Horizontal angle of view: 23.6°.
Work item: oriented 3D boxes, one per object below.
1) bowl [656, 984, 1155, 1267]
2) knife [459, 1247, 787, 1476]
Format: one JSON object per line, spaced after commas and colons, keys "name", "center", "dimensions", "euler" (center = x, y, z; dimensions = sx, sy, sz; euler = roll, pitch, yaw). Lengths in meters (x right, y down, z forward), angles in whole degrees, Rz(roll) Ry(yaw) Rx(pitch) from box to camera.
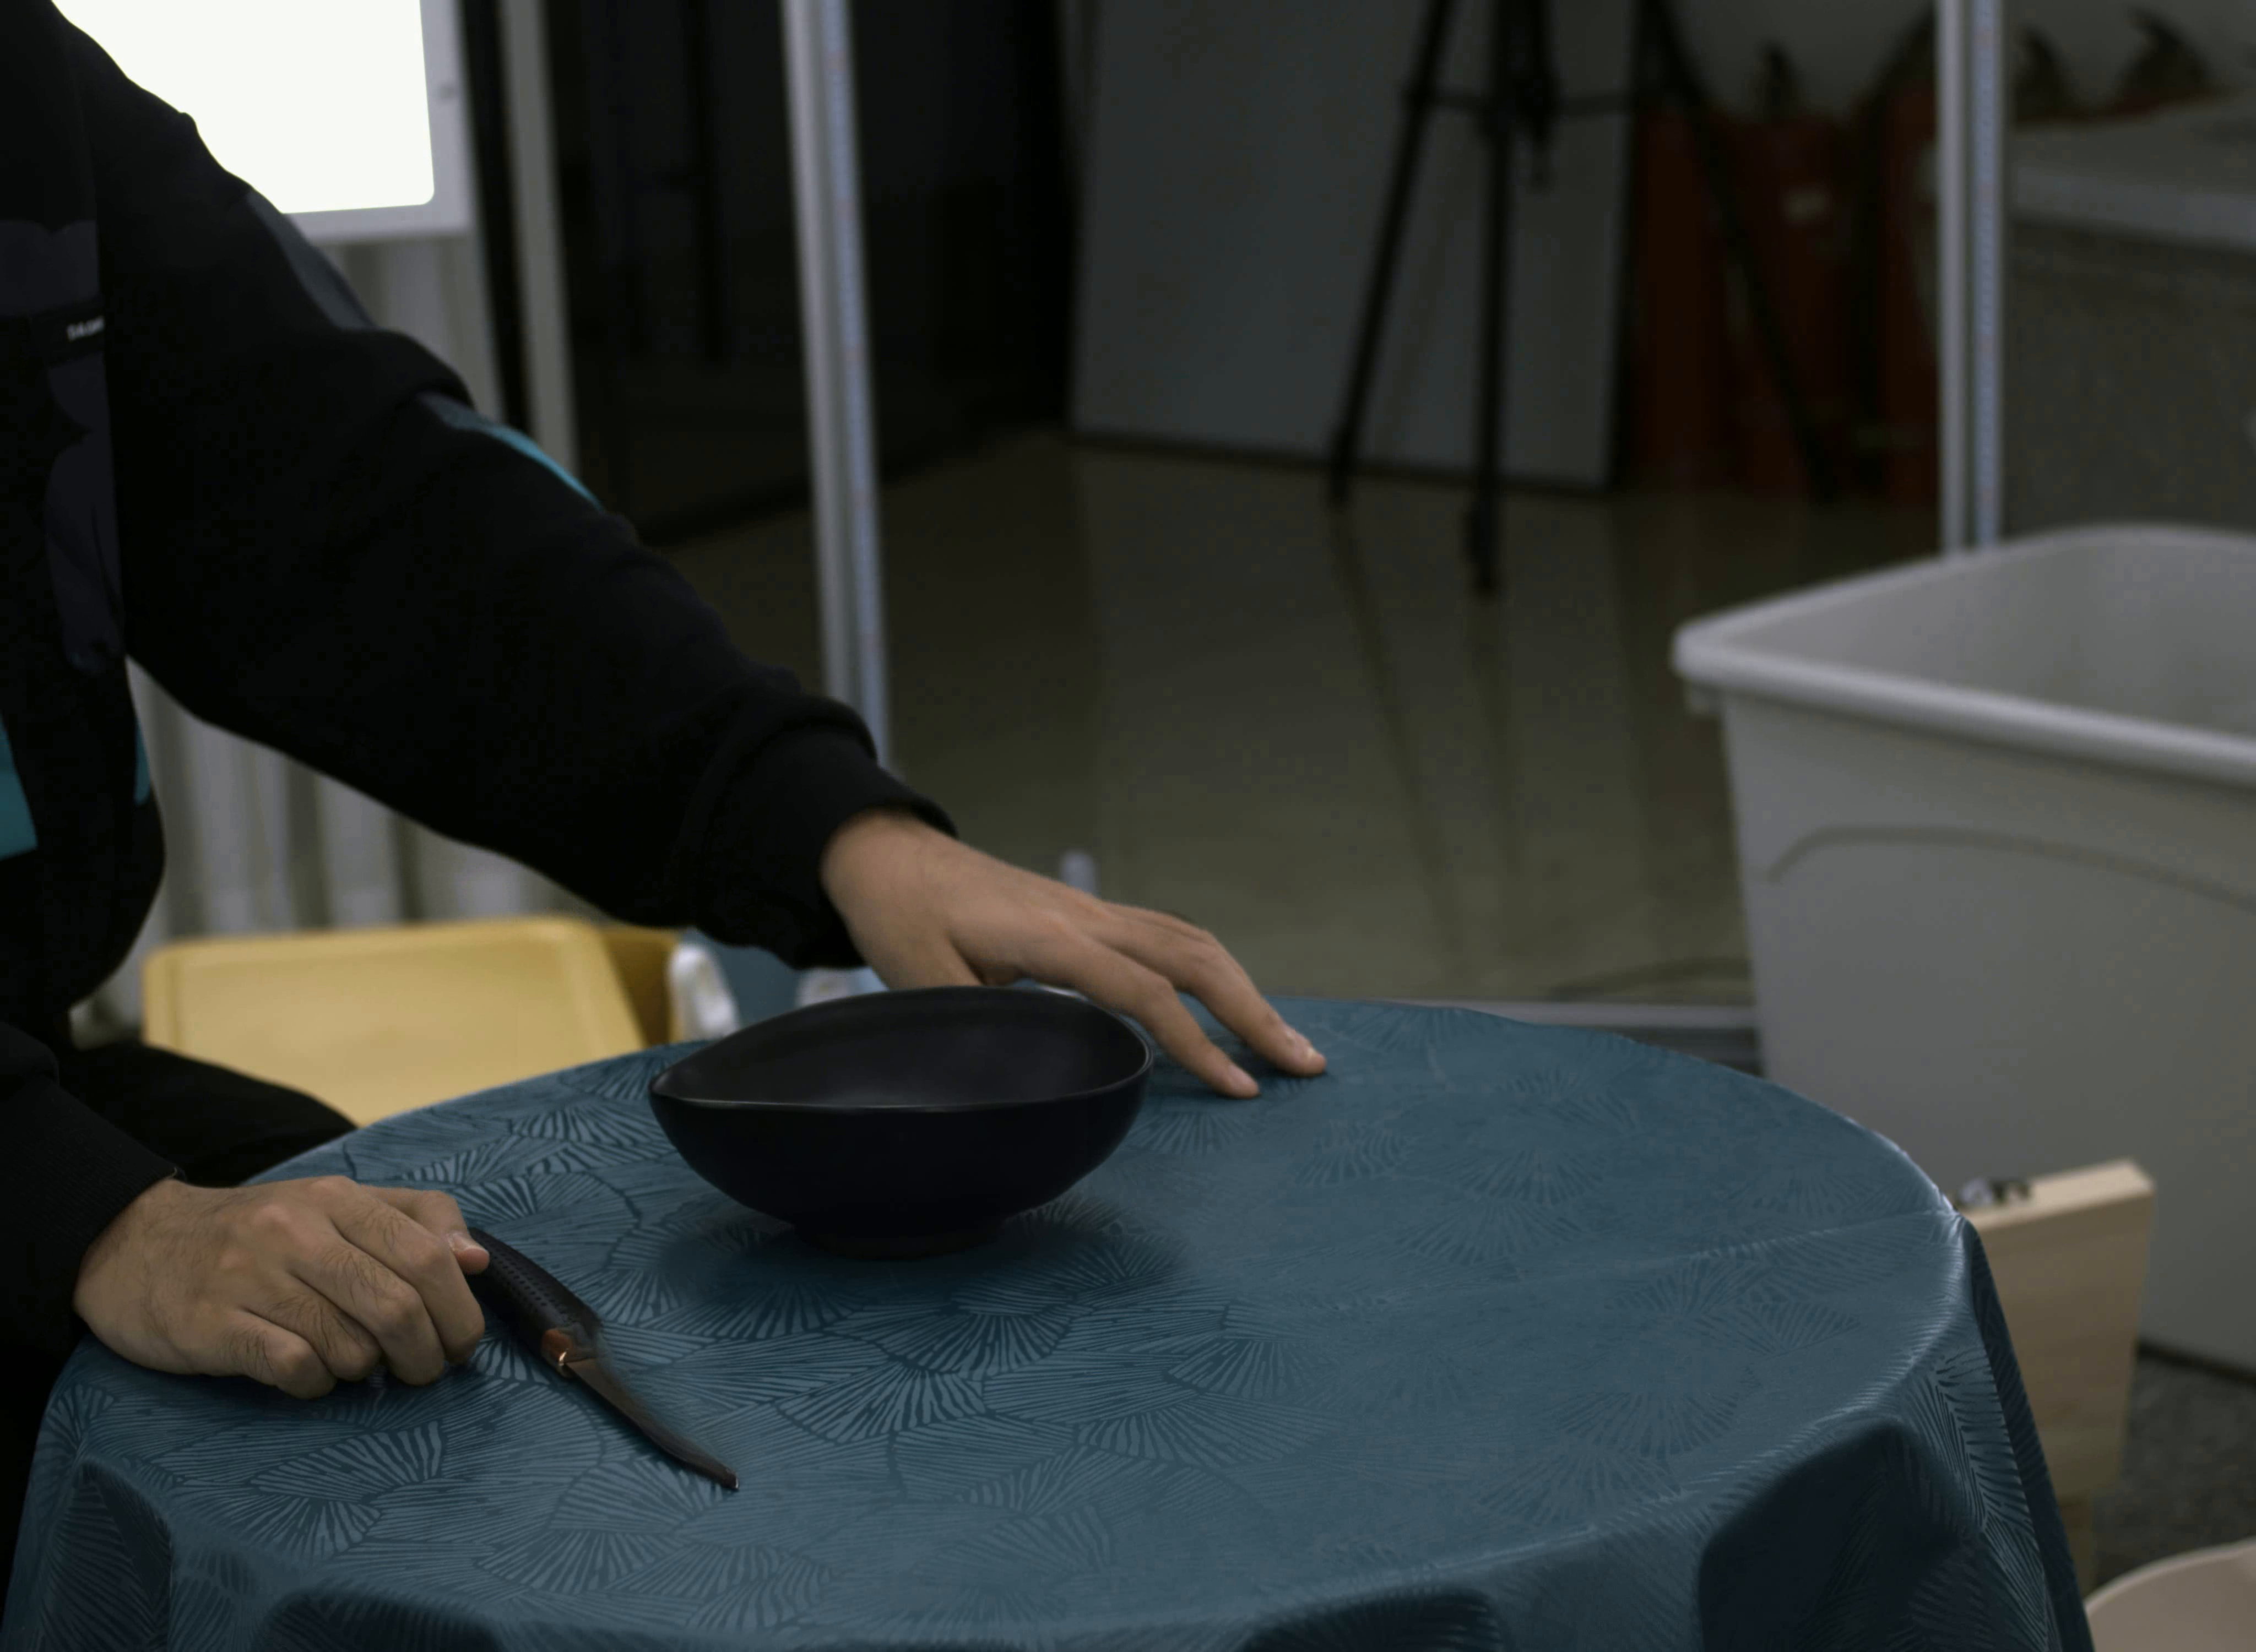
{"name": "bowl", "center": [-0.071, 0.101, 1.738], "dimensions": [0.170, 0.067, 0.136], "euler": [-2, 13, 18]}
{"name": "knife", "center": [-0.154, 0.162, 1.627], "dimensions": [0.025, 0.017, 0.228], "euler": [-16, 18, -24]}
